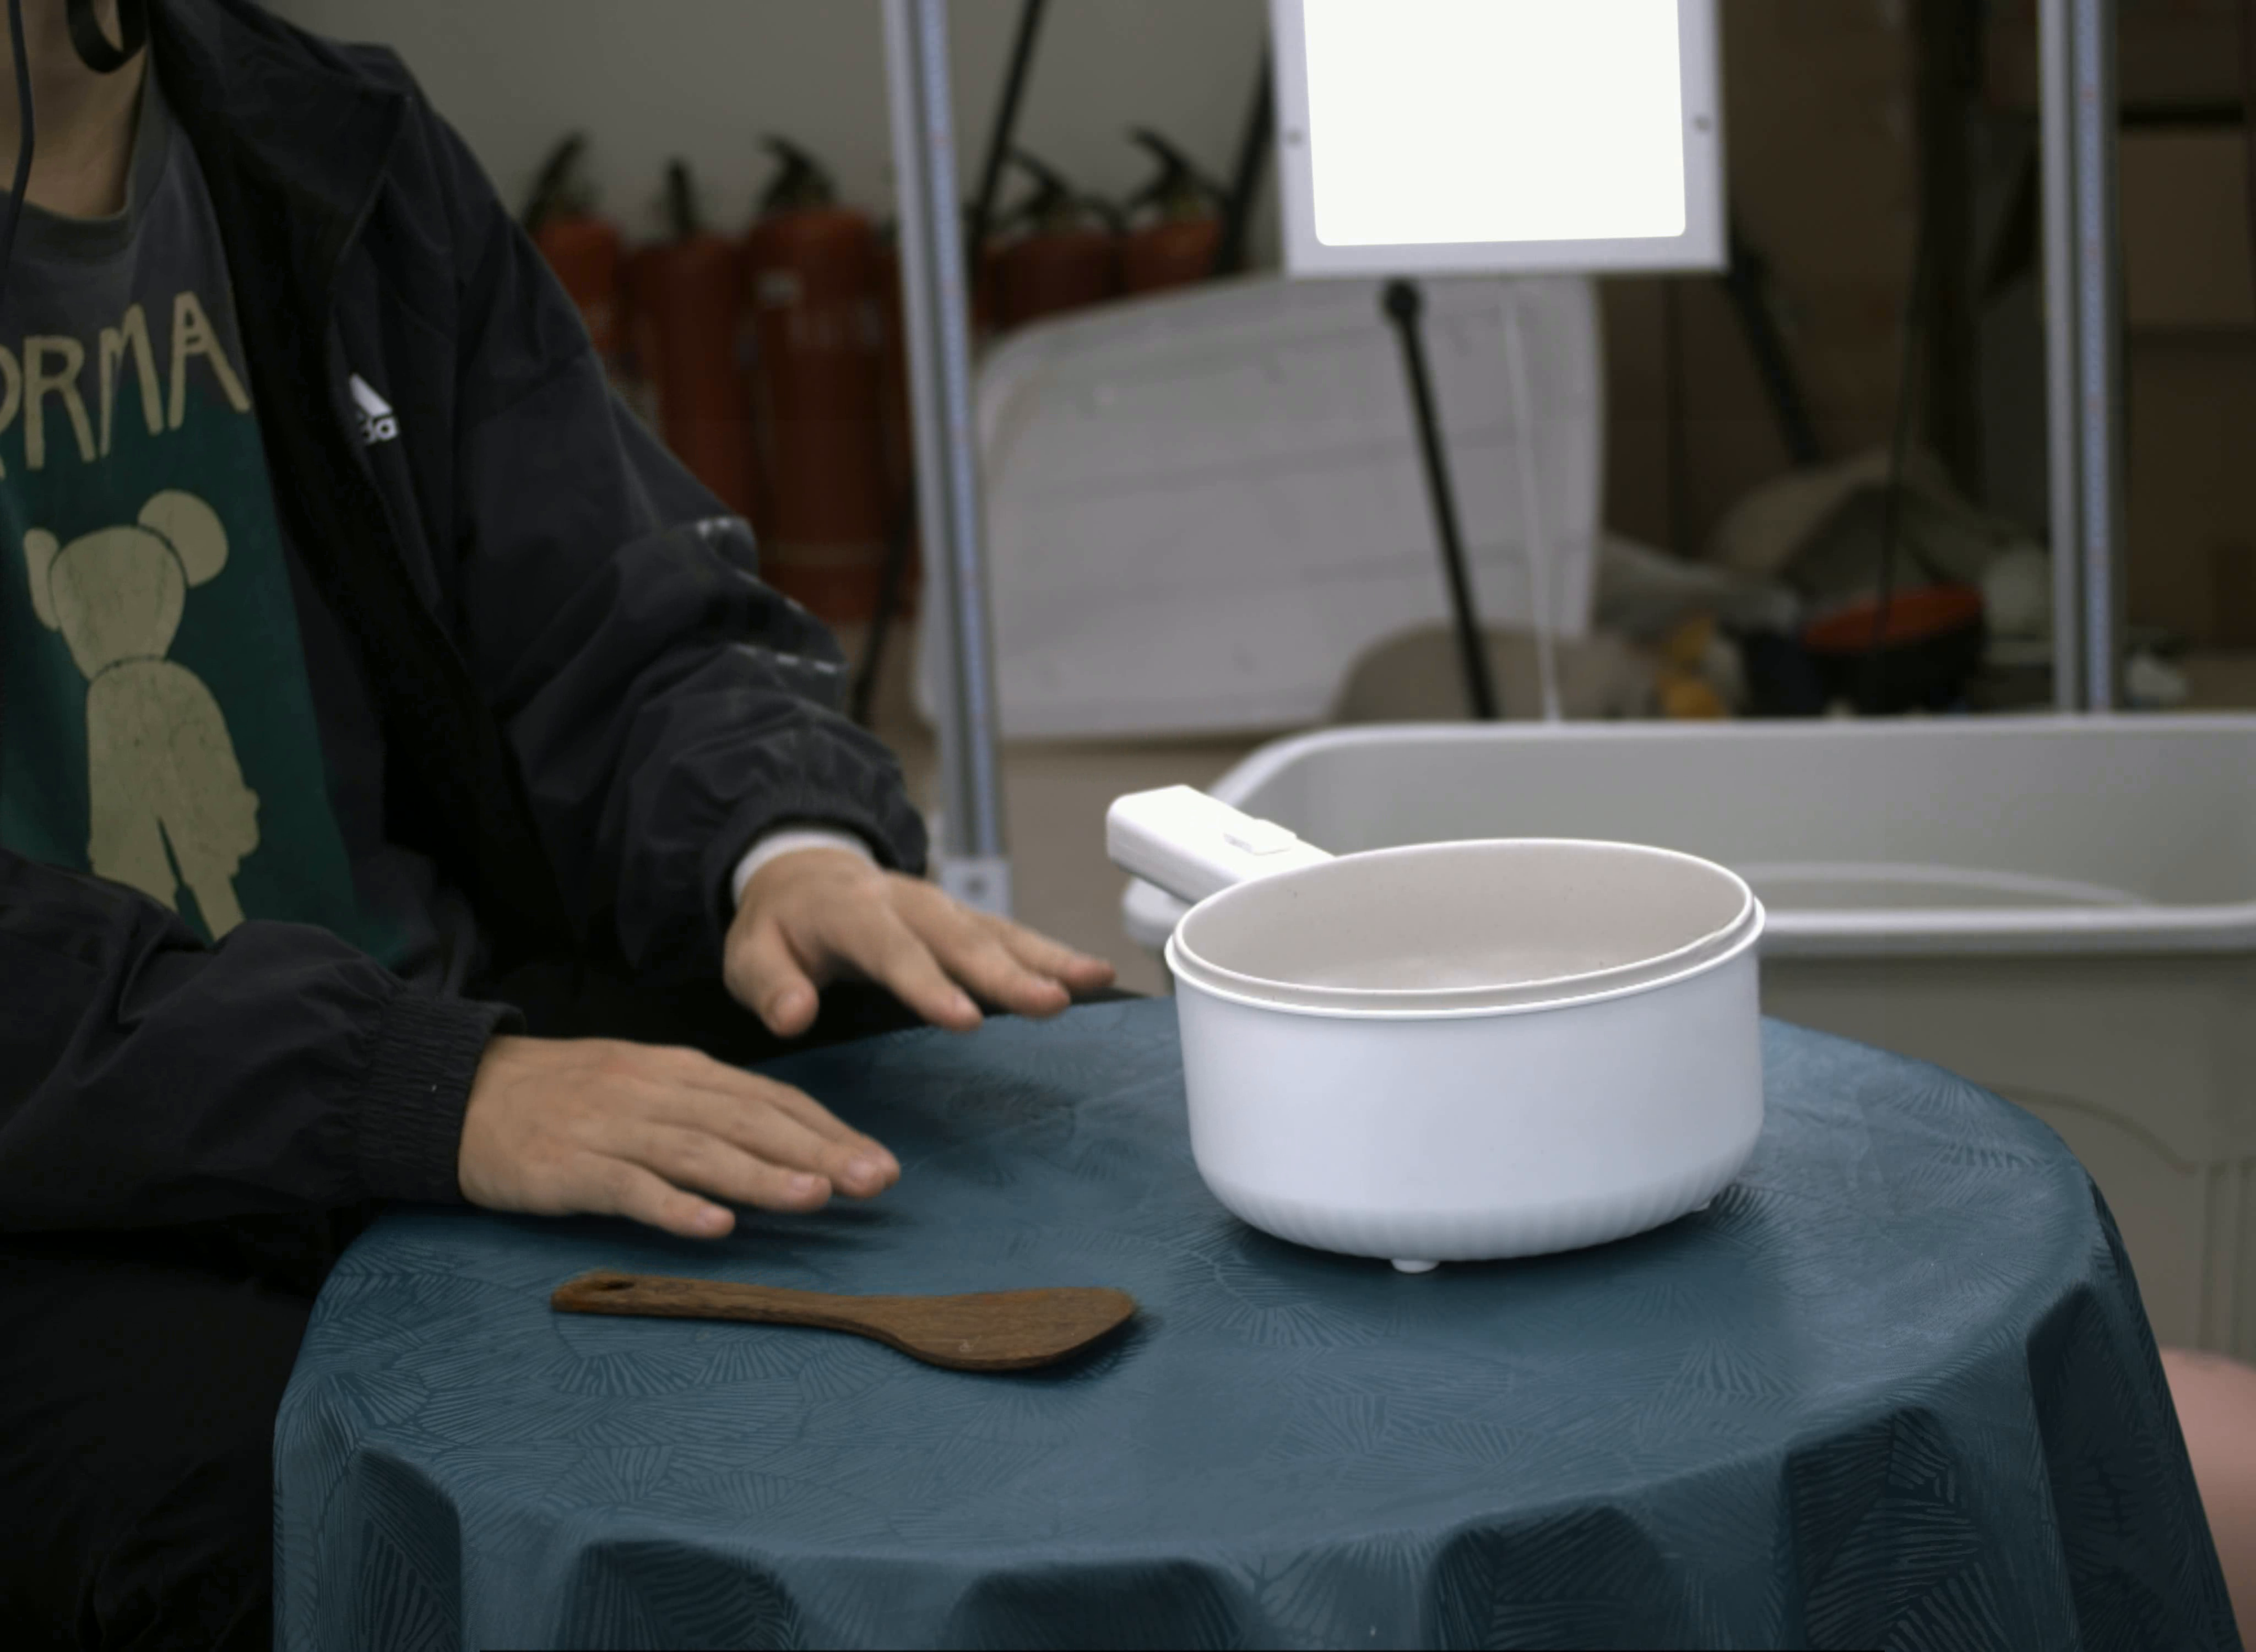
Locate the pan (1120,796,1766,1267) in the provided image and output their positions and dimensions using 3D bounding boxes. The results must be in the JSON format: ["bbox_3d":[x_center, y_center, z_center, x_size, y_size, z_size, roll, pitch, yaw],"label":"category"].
[{"bbox_3d":[0.085,0.065,1.914,0.197,0.102,0.360,-11,13,-21],"label":"pan"}]

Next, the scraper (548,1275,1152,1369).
[{"bbox_3d":[-0.095,0.158,1.789,0.215,0.011,0.074,1,14,29],"label":"scraper"}]
